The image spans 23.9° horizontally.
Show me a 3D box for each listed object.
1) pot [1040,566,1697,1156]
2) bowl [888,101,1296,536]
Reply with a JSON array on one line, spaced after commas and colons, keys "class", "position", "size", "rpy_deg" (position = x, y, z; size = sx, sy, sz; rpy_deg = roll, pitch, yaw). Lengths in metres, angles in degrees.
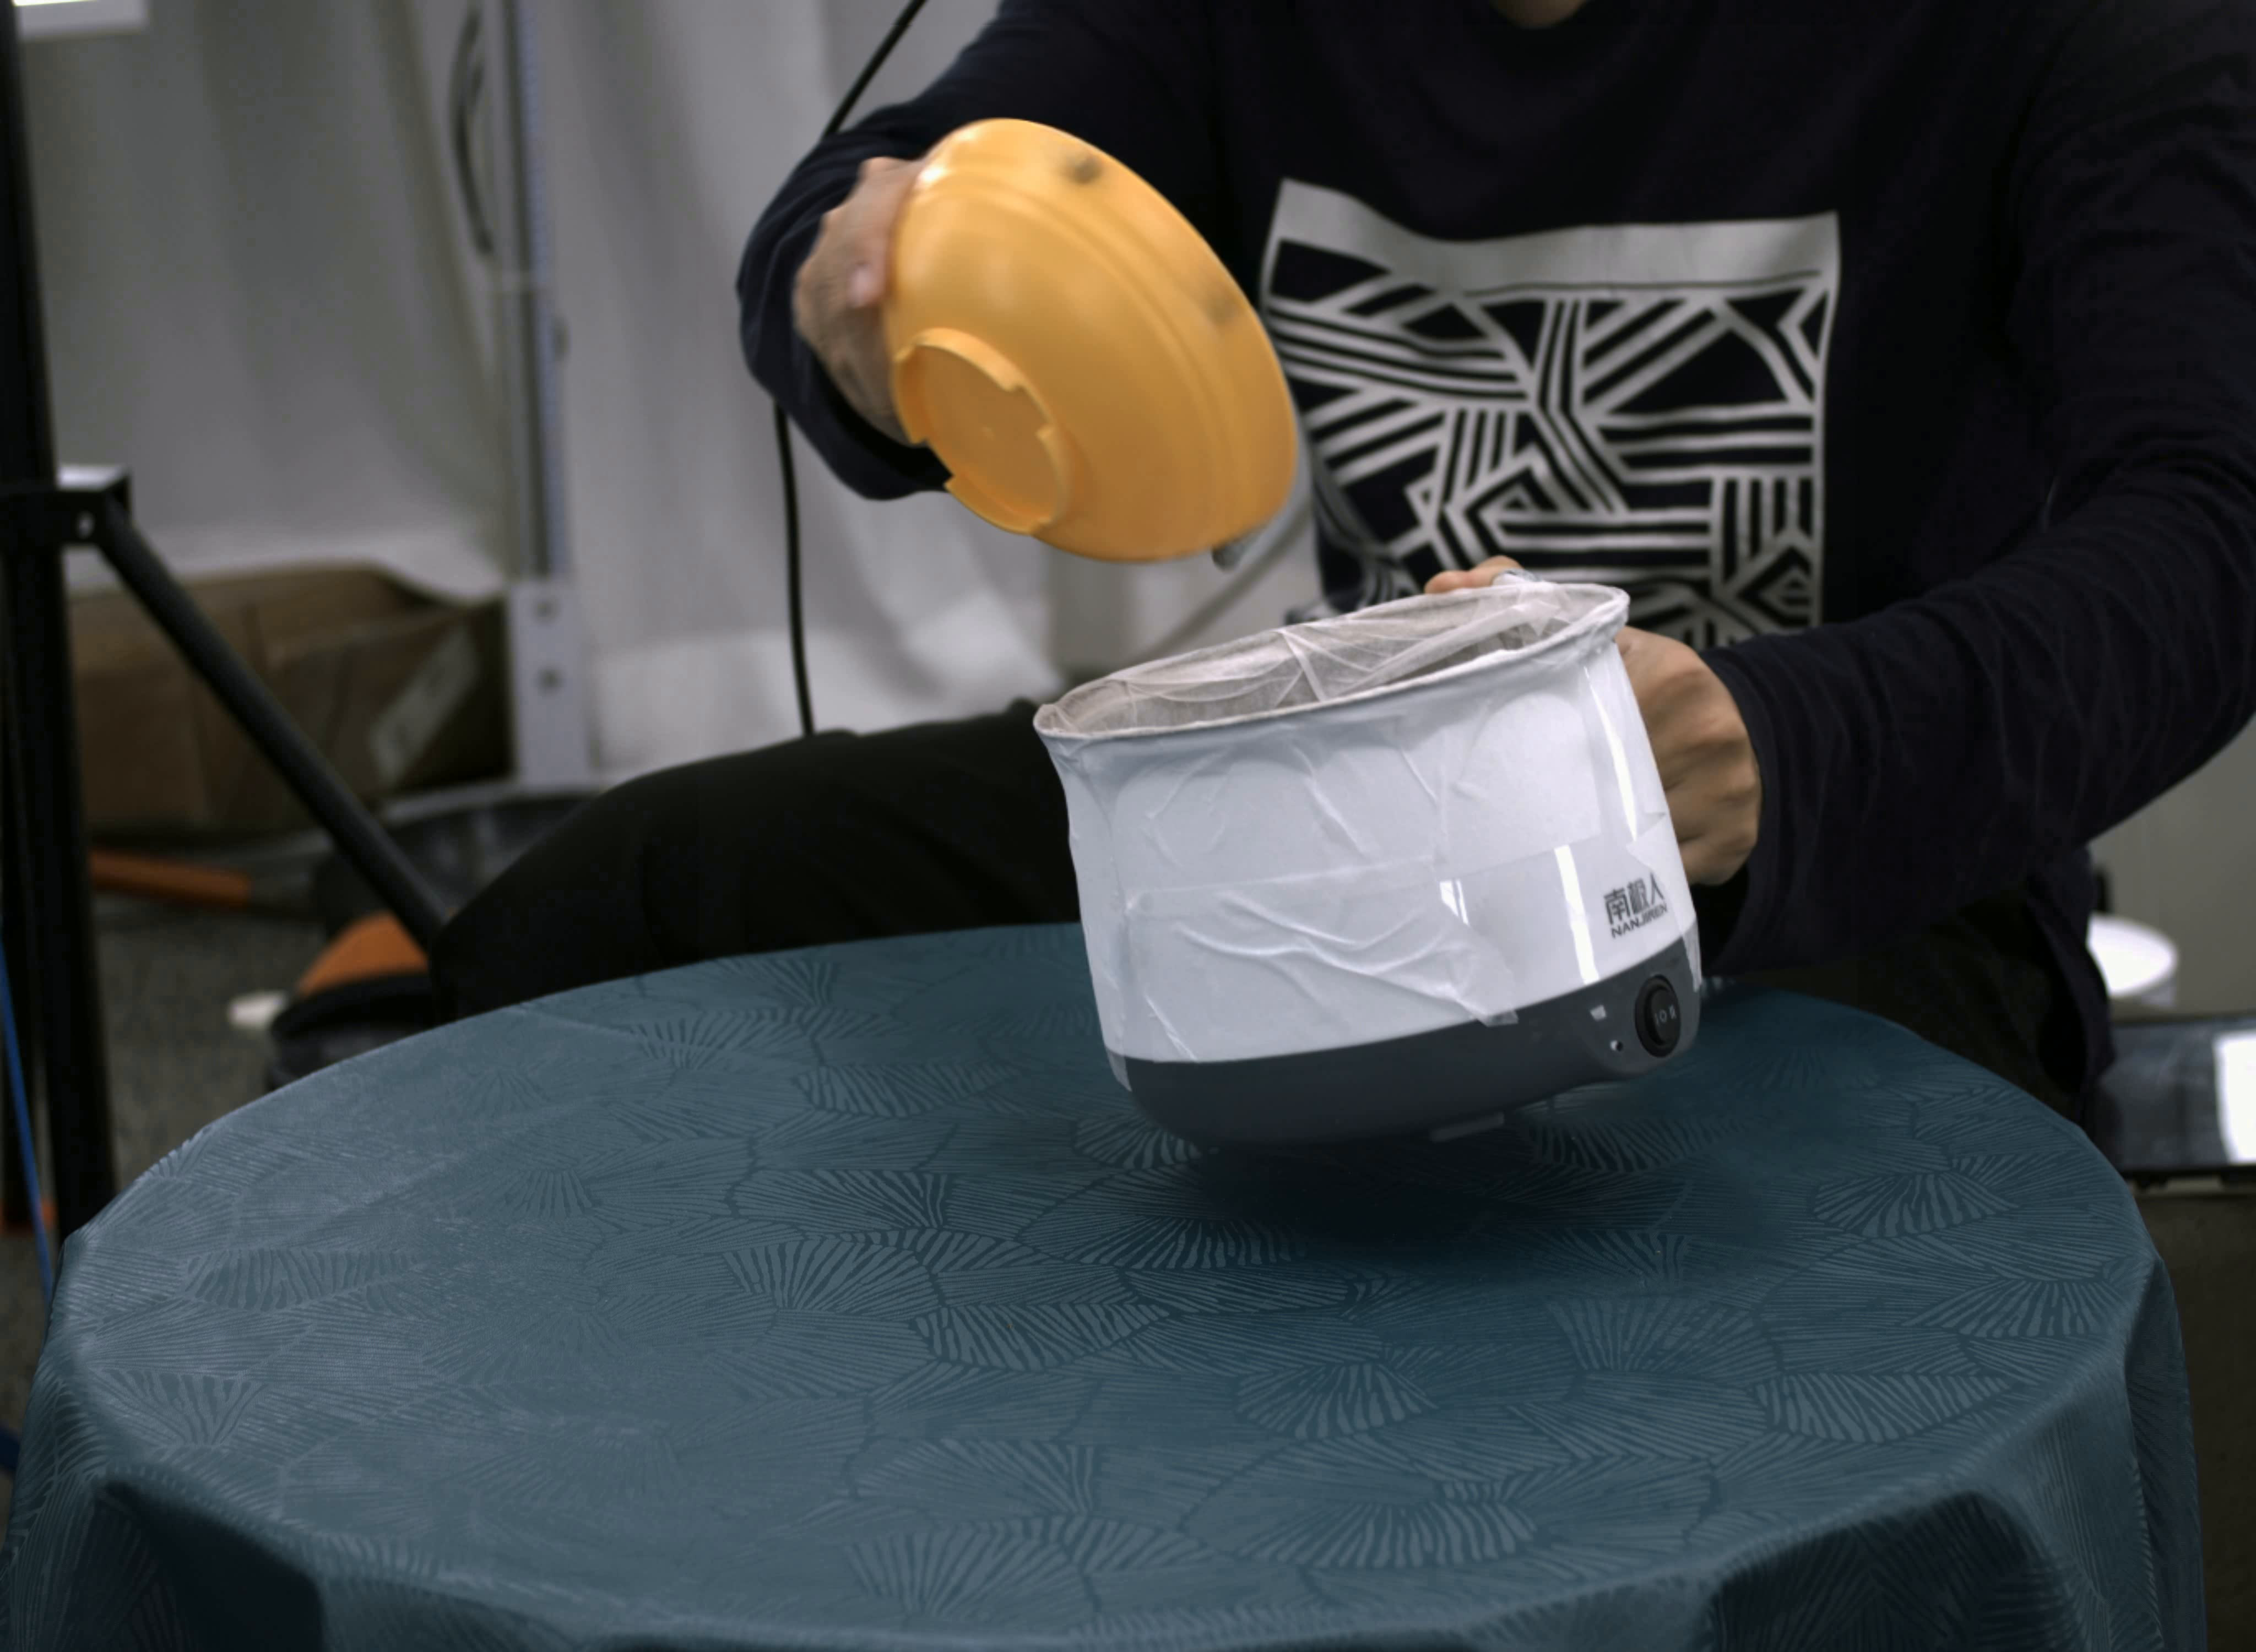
[{"class": "pot", "position": [0.088, 0.007, 1.566], "size": [0.182, 0.136, 0.229], "rpy_deg": [-3, 13, 37]}, {"class": "bowl", "position": [-0.023, -0.133, 1.544], "size": [0.059, 0.143, 0.148], "rpy_deg": [-43, 34, -22]}]
